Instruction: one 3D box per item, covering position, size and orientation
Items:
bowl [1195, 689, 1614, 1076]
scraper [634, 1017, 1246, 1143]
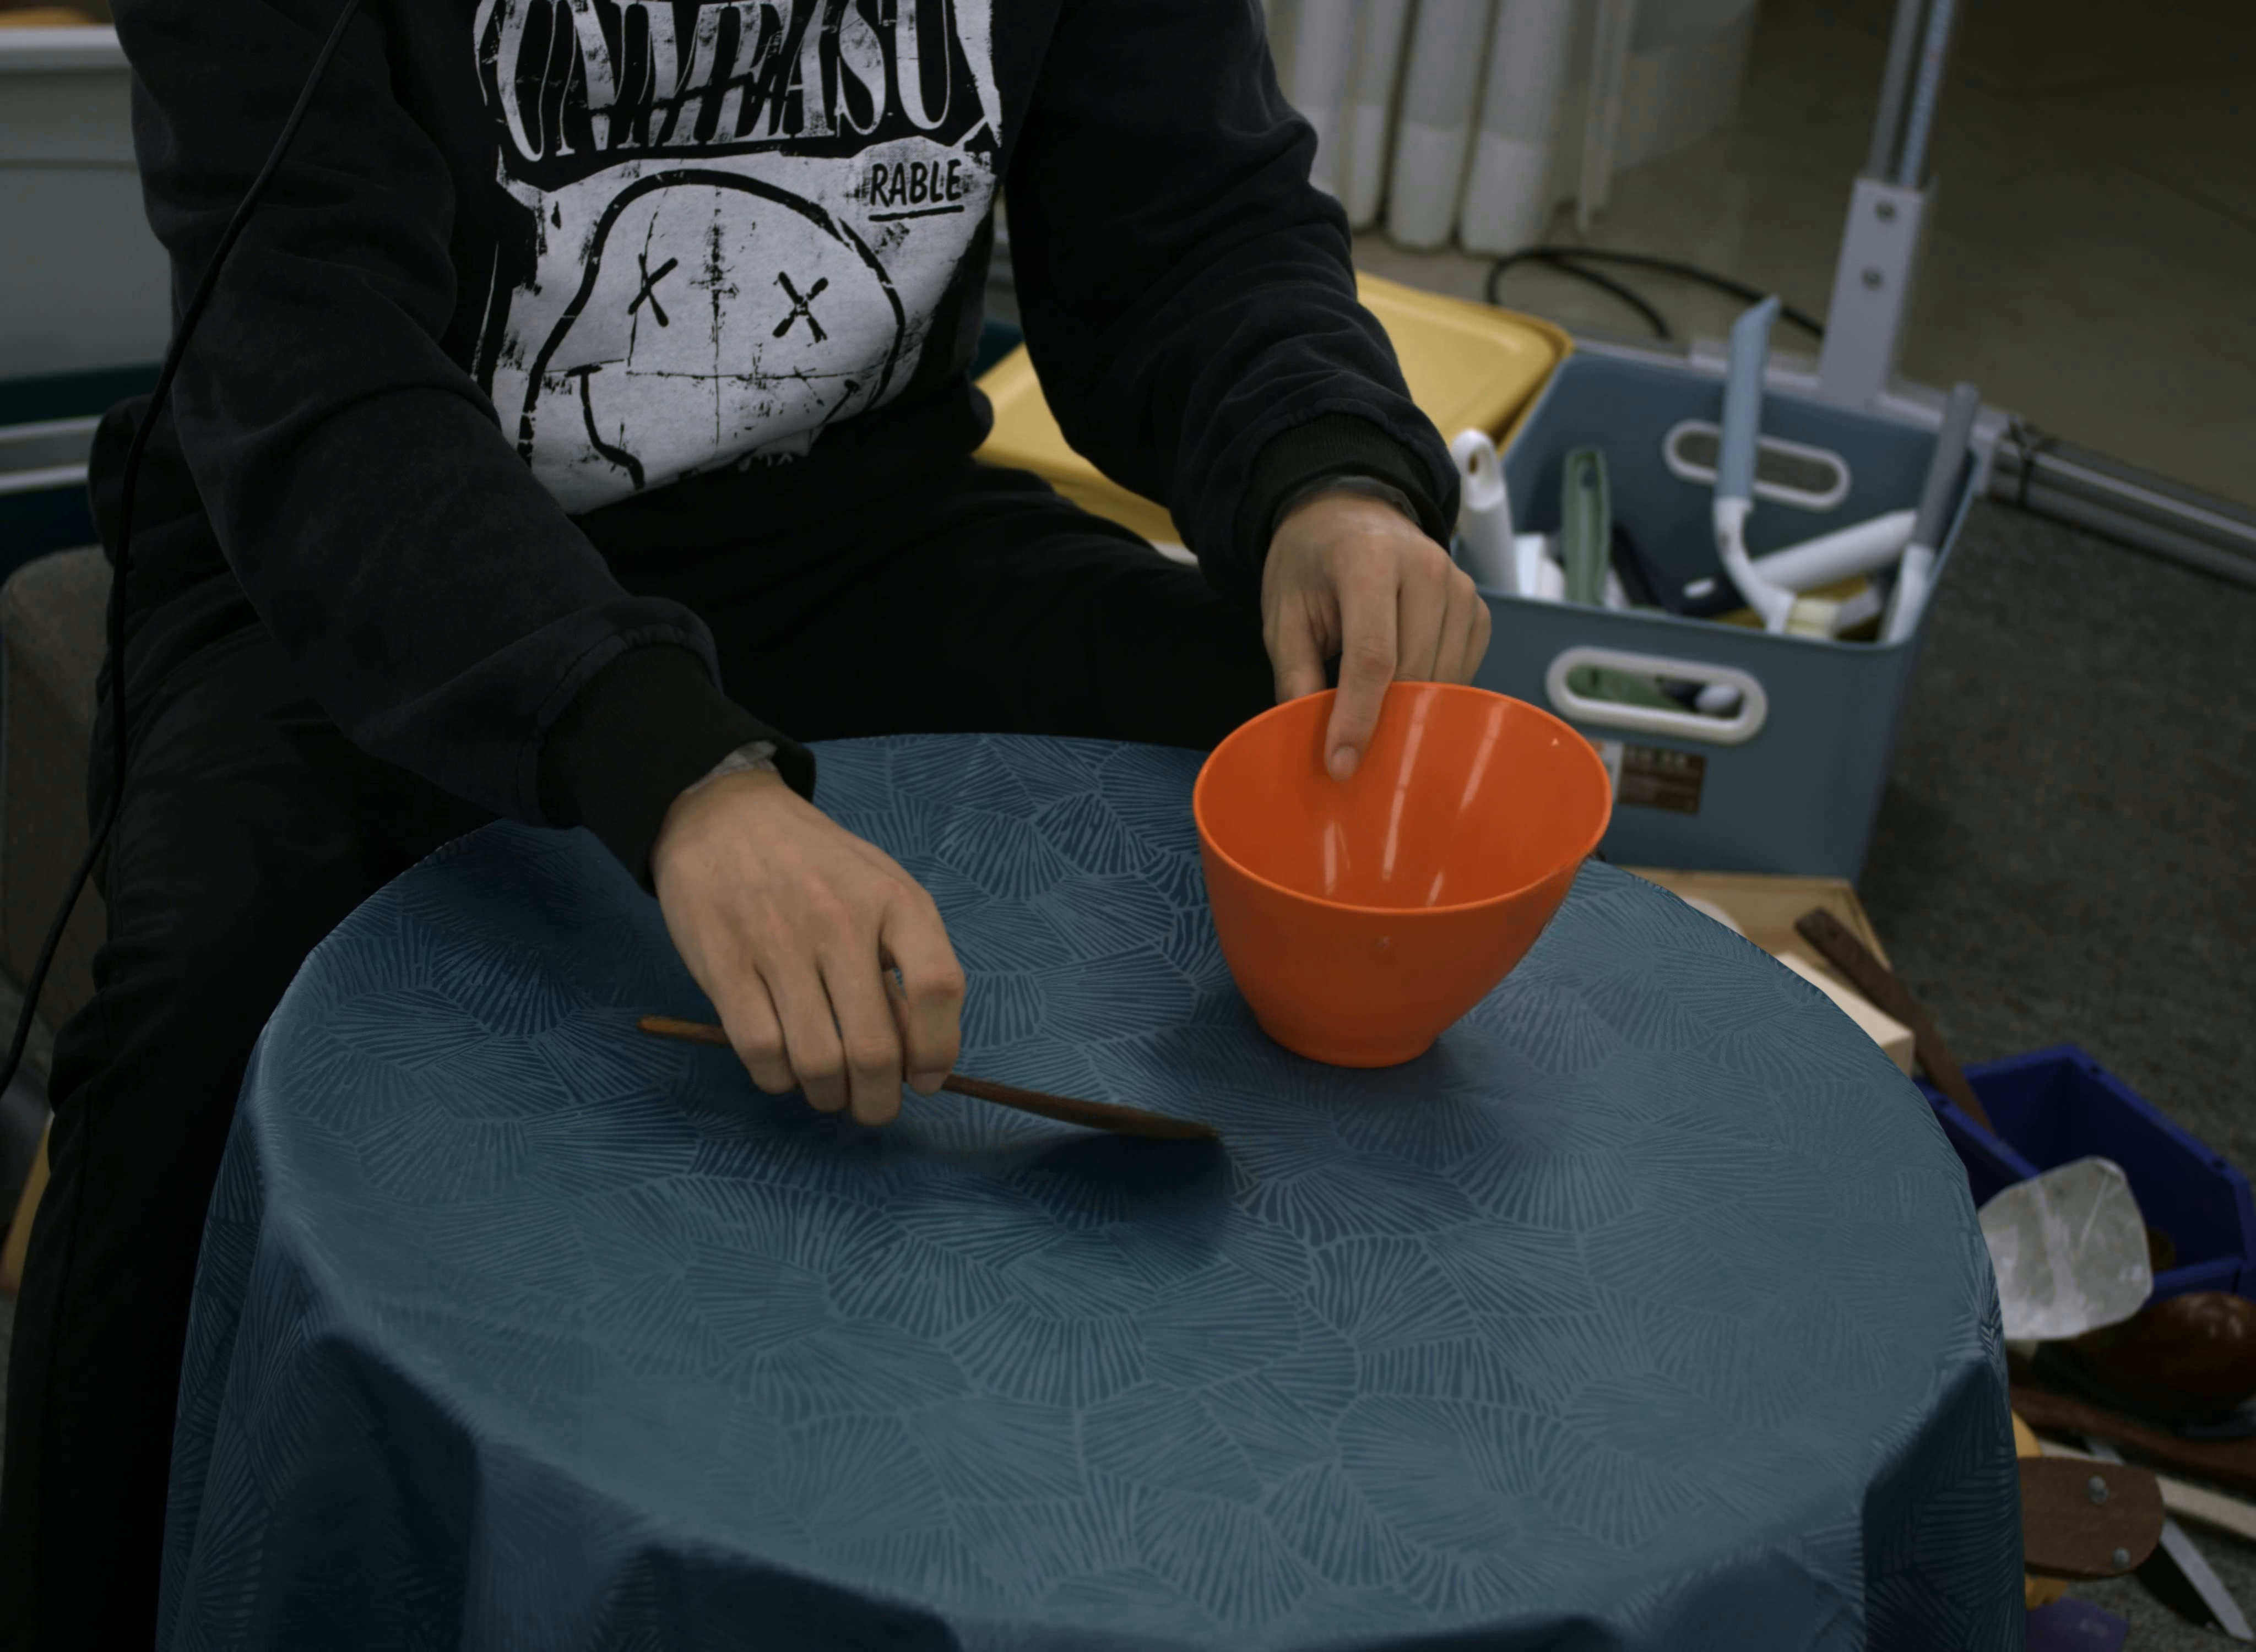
[{"bbox_3d":[0.093,0.026,1.902,0.147,0.104,0.149,6,28,-3],"label":"bowl"},{"bbox_3d":[-0.064,0.087,1.804,0.211,0.011,0.075,11,-6,2],"label":"scraper"}]
